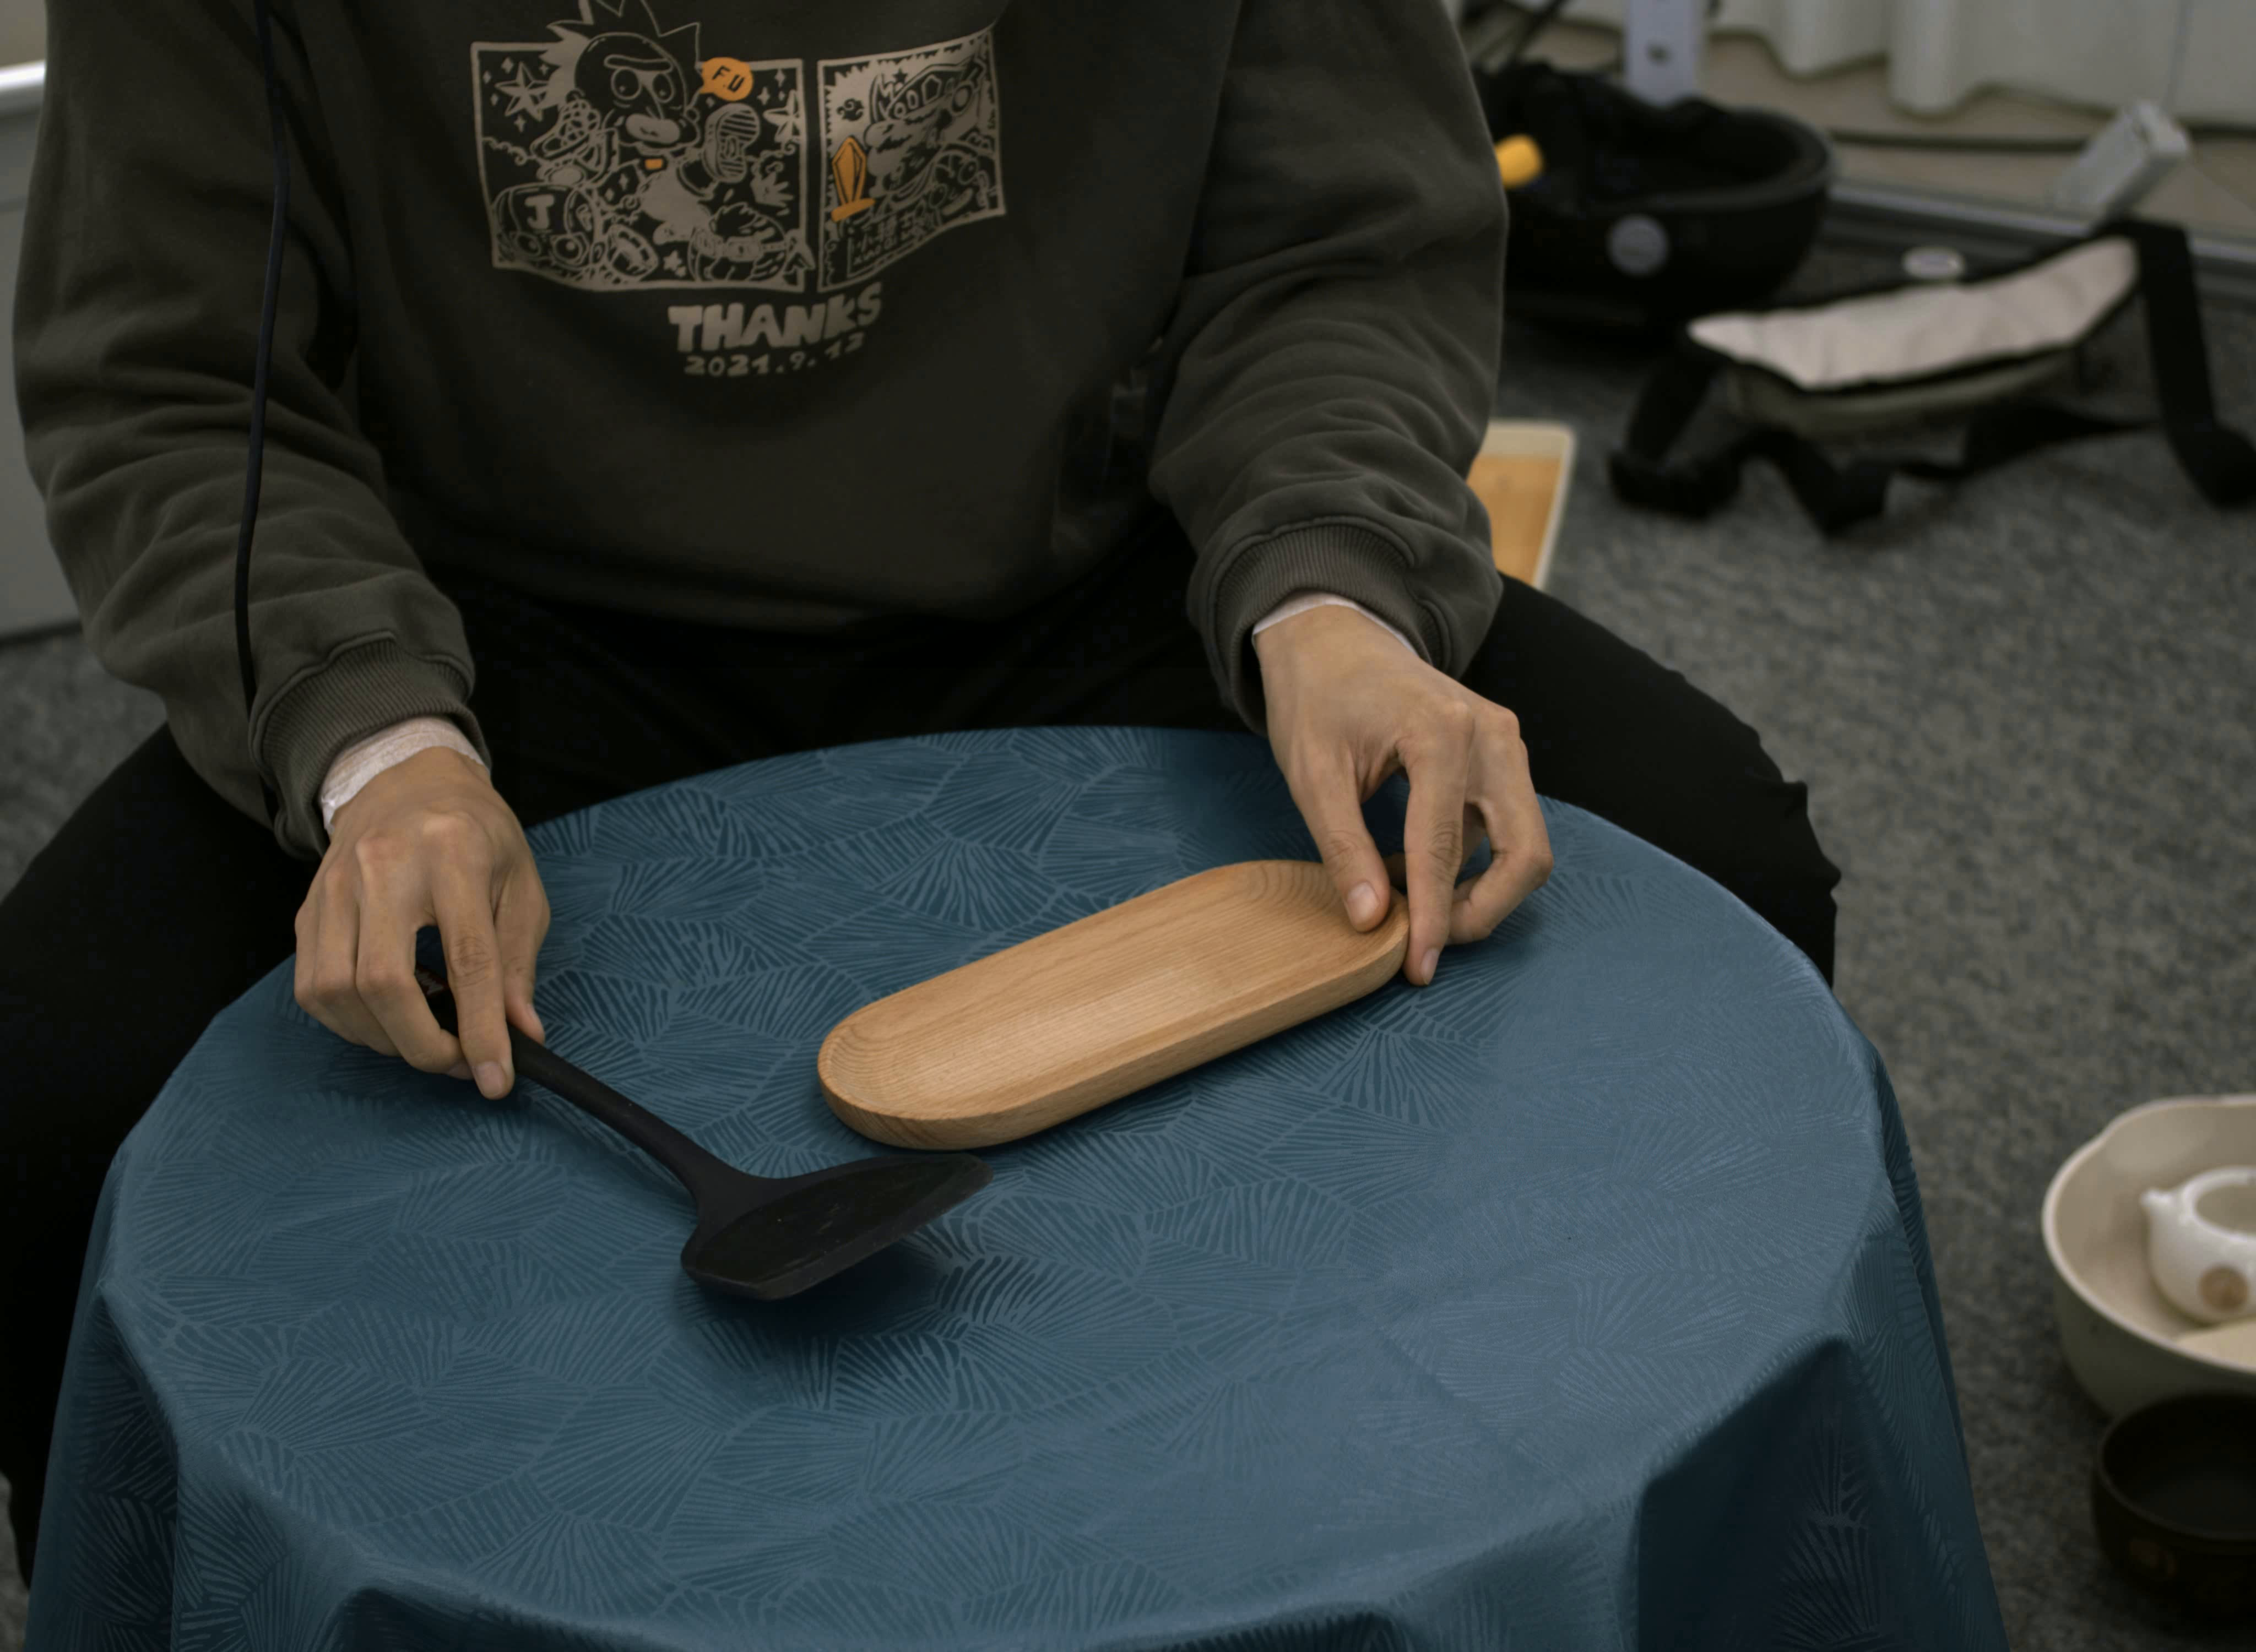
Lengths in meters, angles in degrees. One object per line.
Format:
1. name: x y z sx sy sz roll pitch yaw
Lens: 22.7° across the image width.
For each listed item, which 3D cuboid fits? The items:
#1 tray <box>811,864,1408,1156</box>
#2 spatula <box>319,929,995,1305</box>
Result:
1. tray: -0.005 0.063 1.953 0.233 0.020 0.102 -22 30 -29
2. spatula: -0.179 0.088 1.893 0.101 0.040 0.326 -26 38 -34
